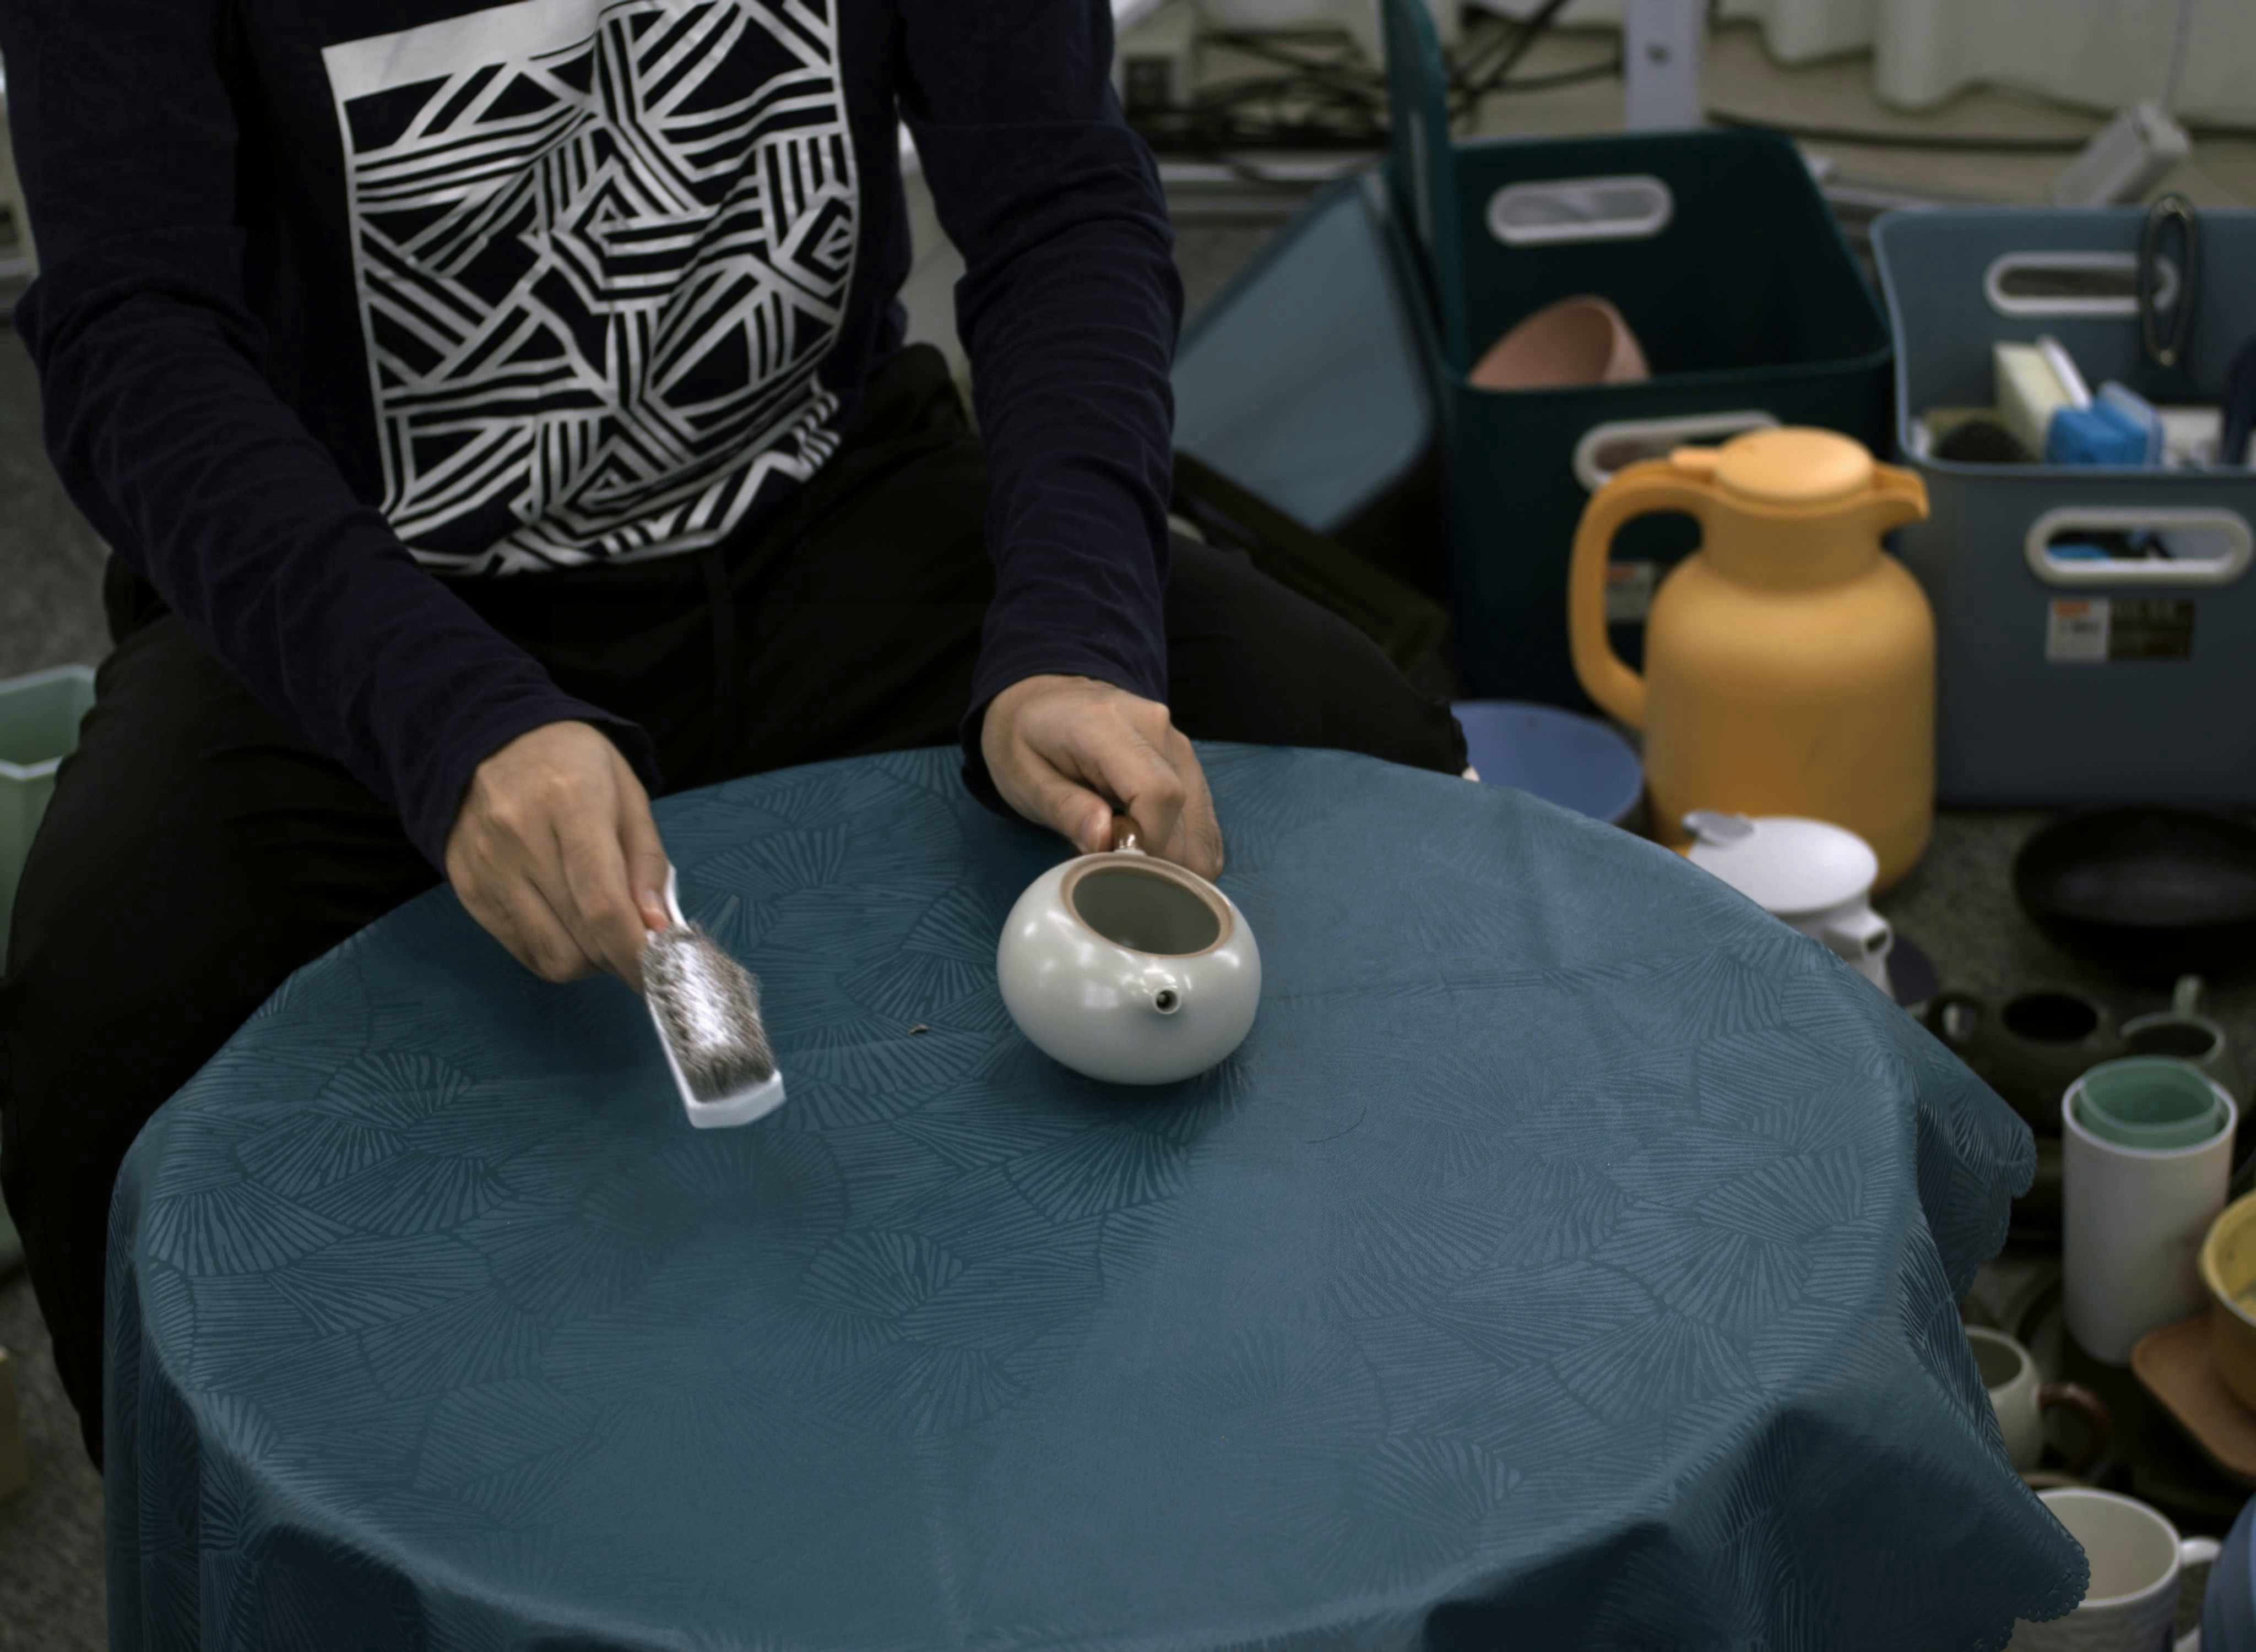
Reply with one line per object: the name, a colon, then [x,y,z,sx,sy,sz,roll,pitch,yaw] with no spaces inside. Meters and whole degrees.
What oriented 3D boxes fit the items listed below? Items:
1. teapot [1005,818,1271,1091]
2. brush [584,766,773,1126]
teapot: [0.002,0.046,1.929,0.092,0.059,0.130,5,32,-15]
brush: [-0.160,0.024,1.905,0.034,0.049,0.246,-18,31,-5]
